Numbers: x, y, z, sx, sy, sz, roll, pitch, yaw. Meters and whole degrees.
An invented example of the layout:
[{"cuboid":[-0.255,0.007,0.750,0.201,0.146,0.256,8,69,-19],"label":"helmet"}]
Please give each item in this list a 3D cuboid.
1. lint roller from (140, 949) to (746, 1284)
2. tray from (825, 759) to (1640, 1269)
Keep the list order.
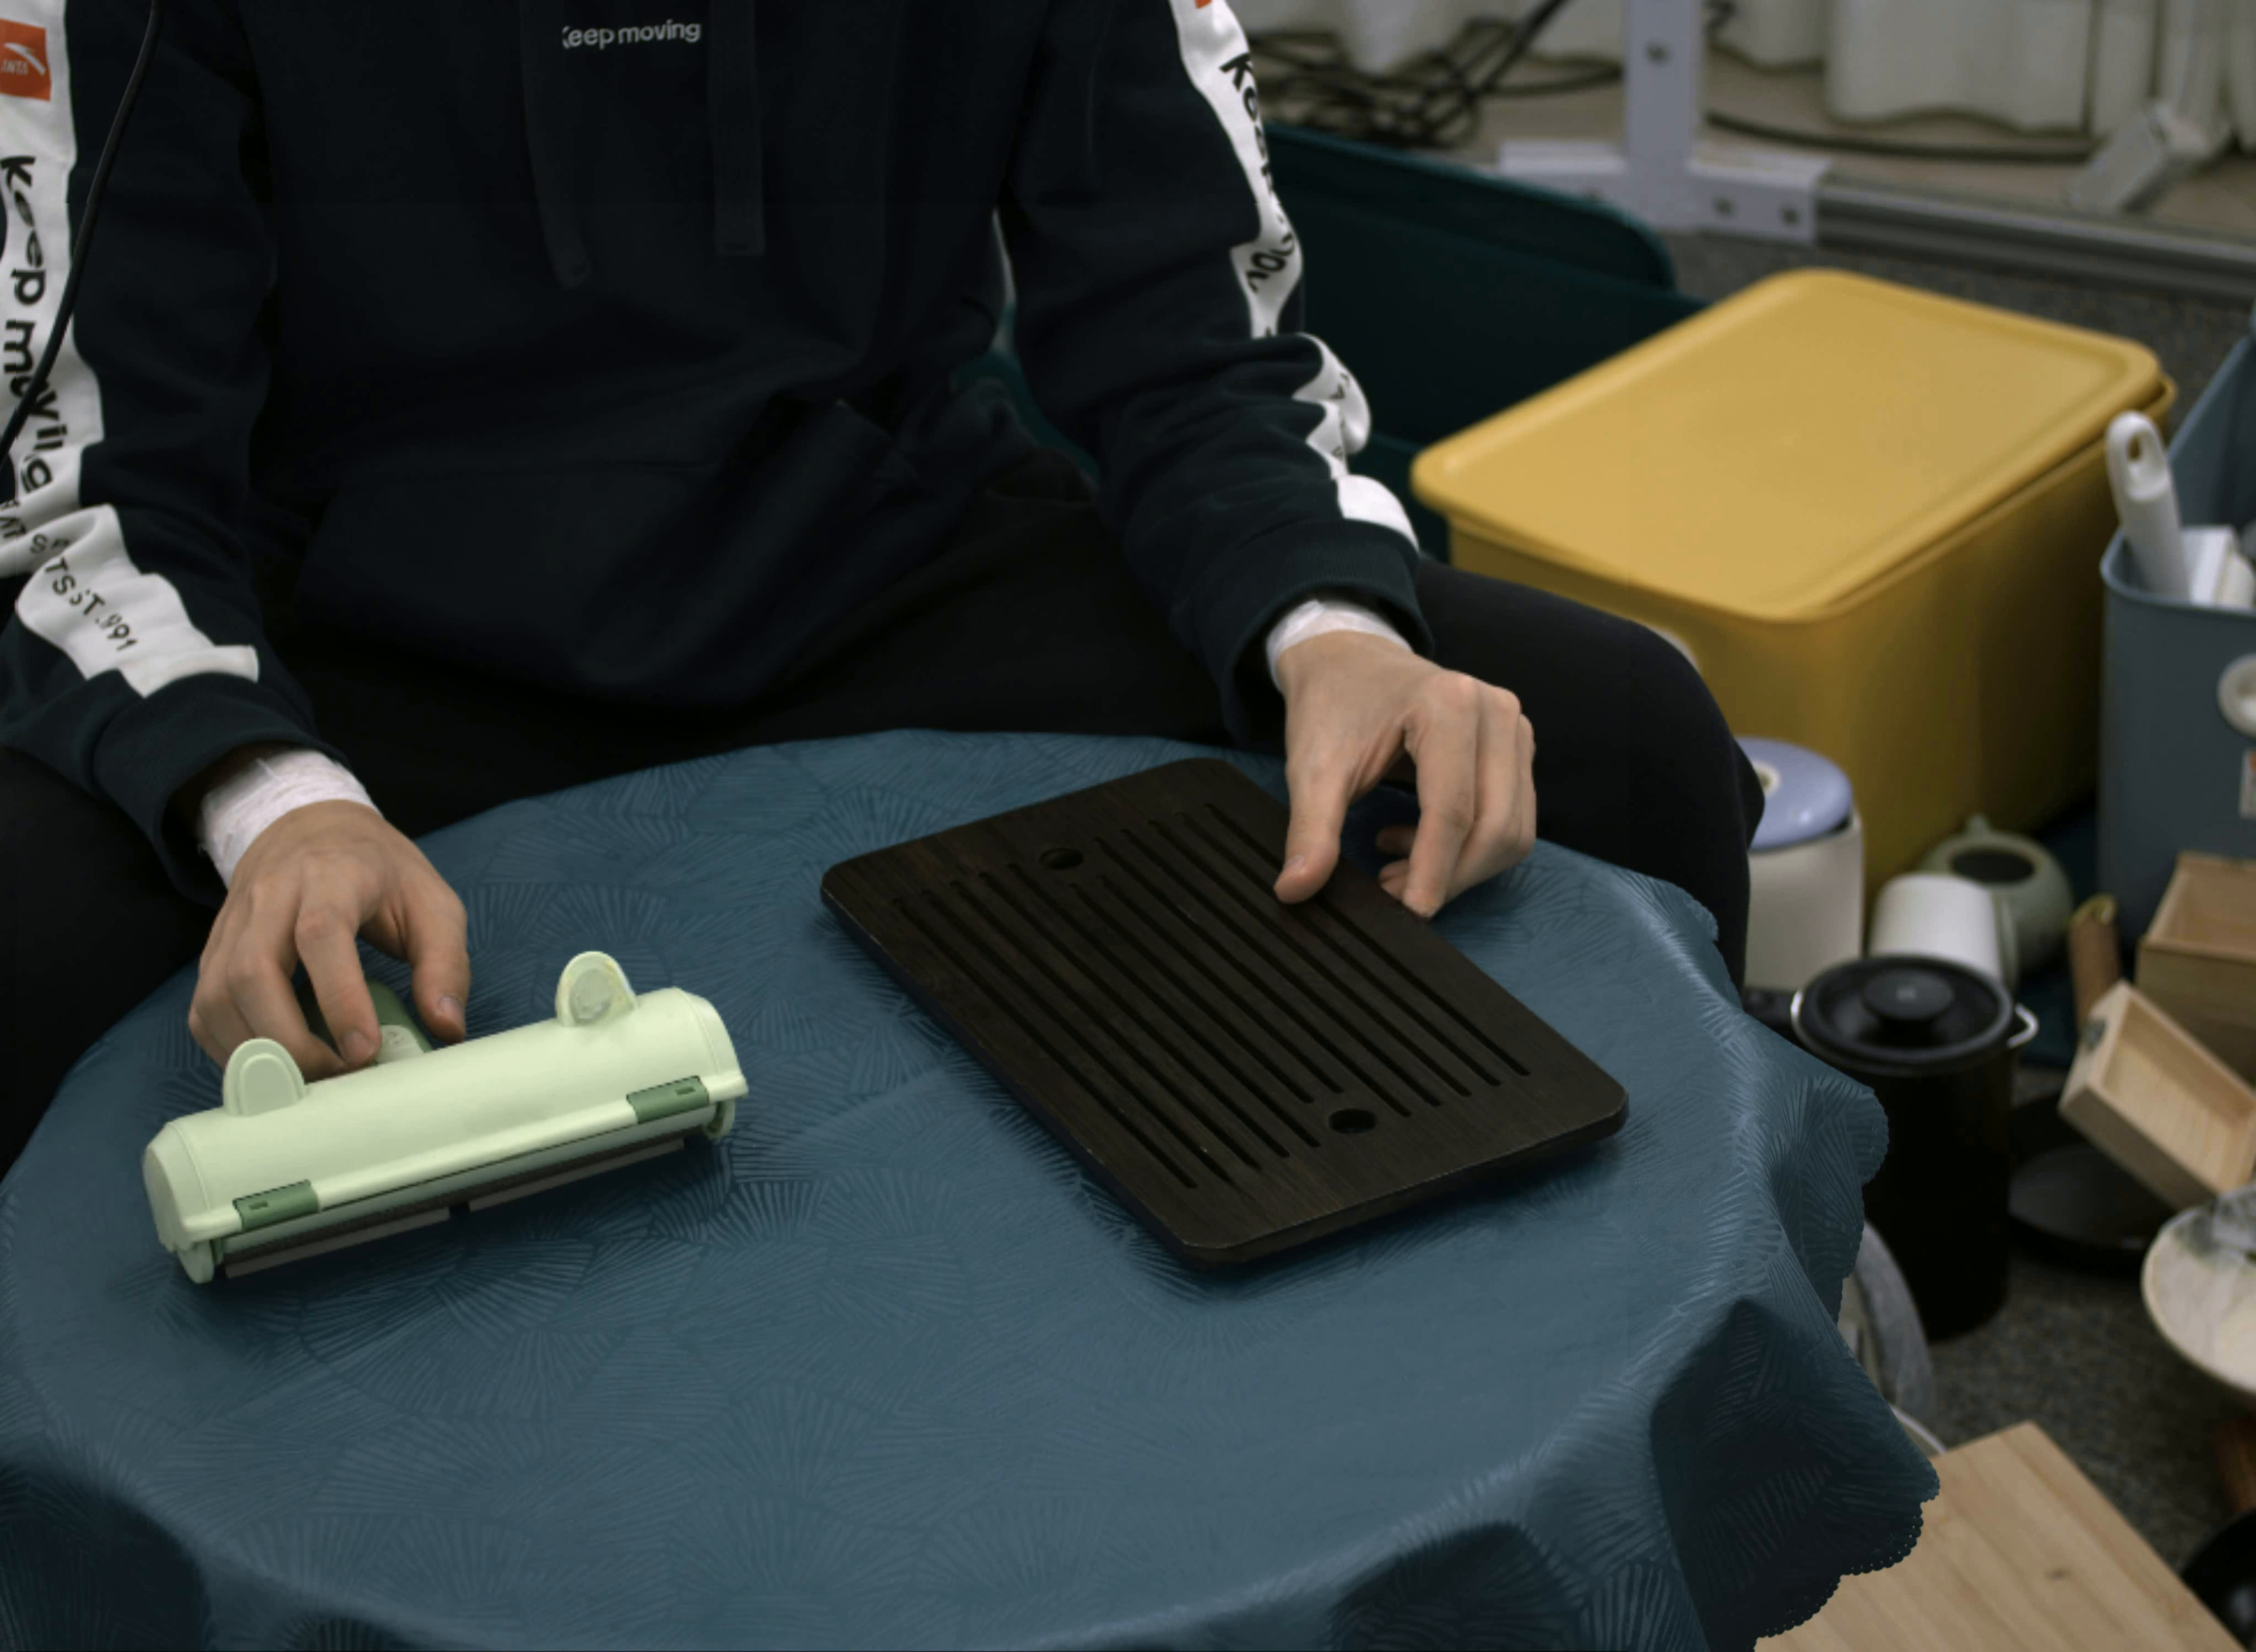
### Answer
[{"cuboid":[-0.249,0.071,1.897,0.199,0.081,0.185,-15,33,-21],"label":"lint roller"},{"cuboid":[0.030,0.061,1.951,0.171,0.018,0.307,-17,30,-22],"label":"tray"}]
